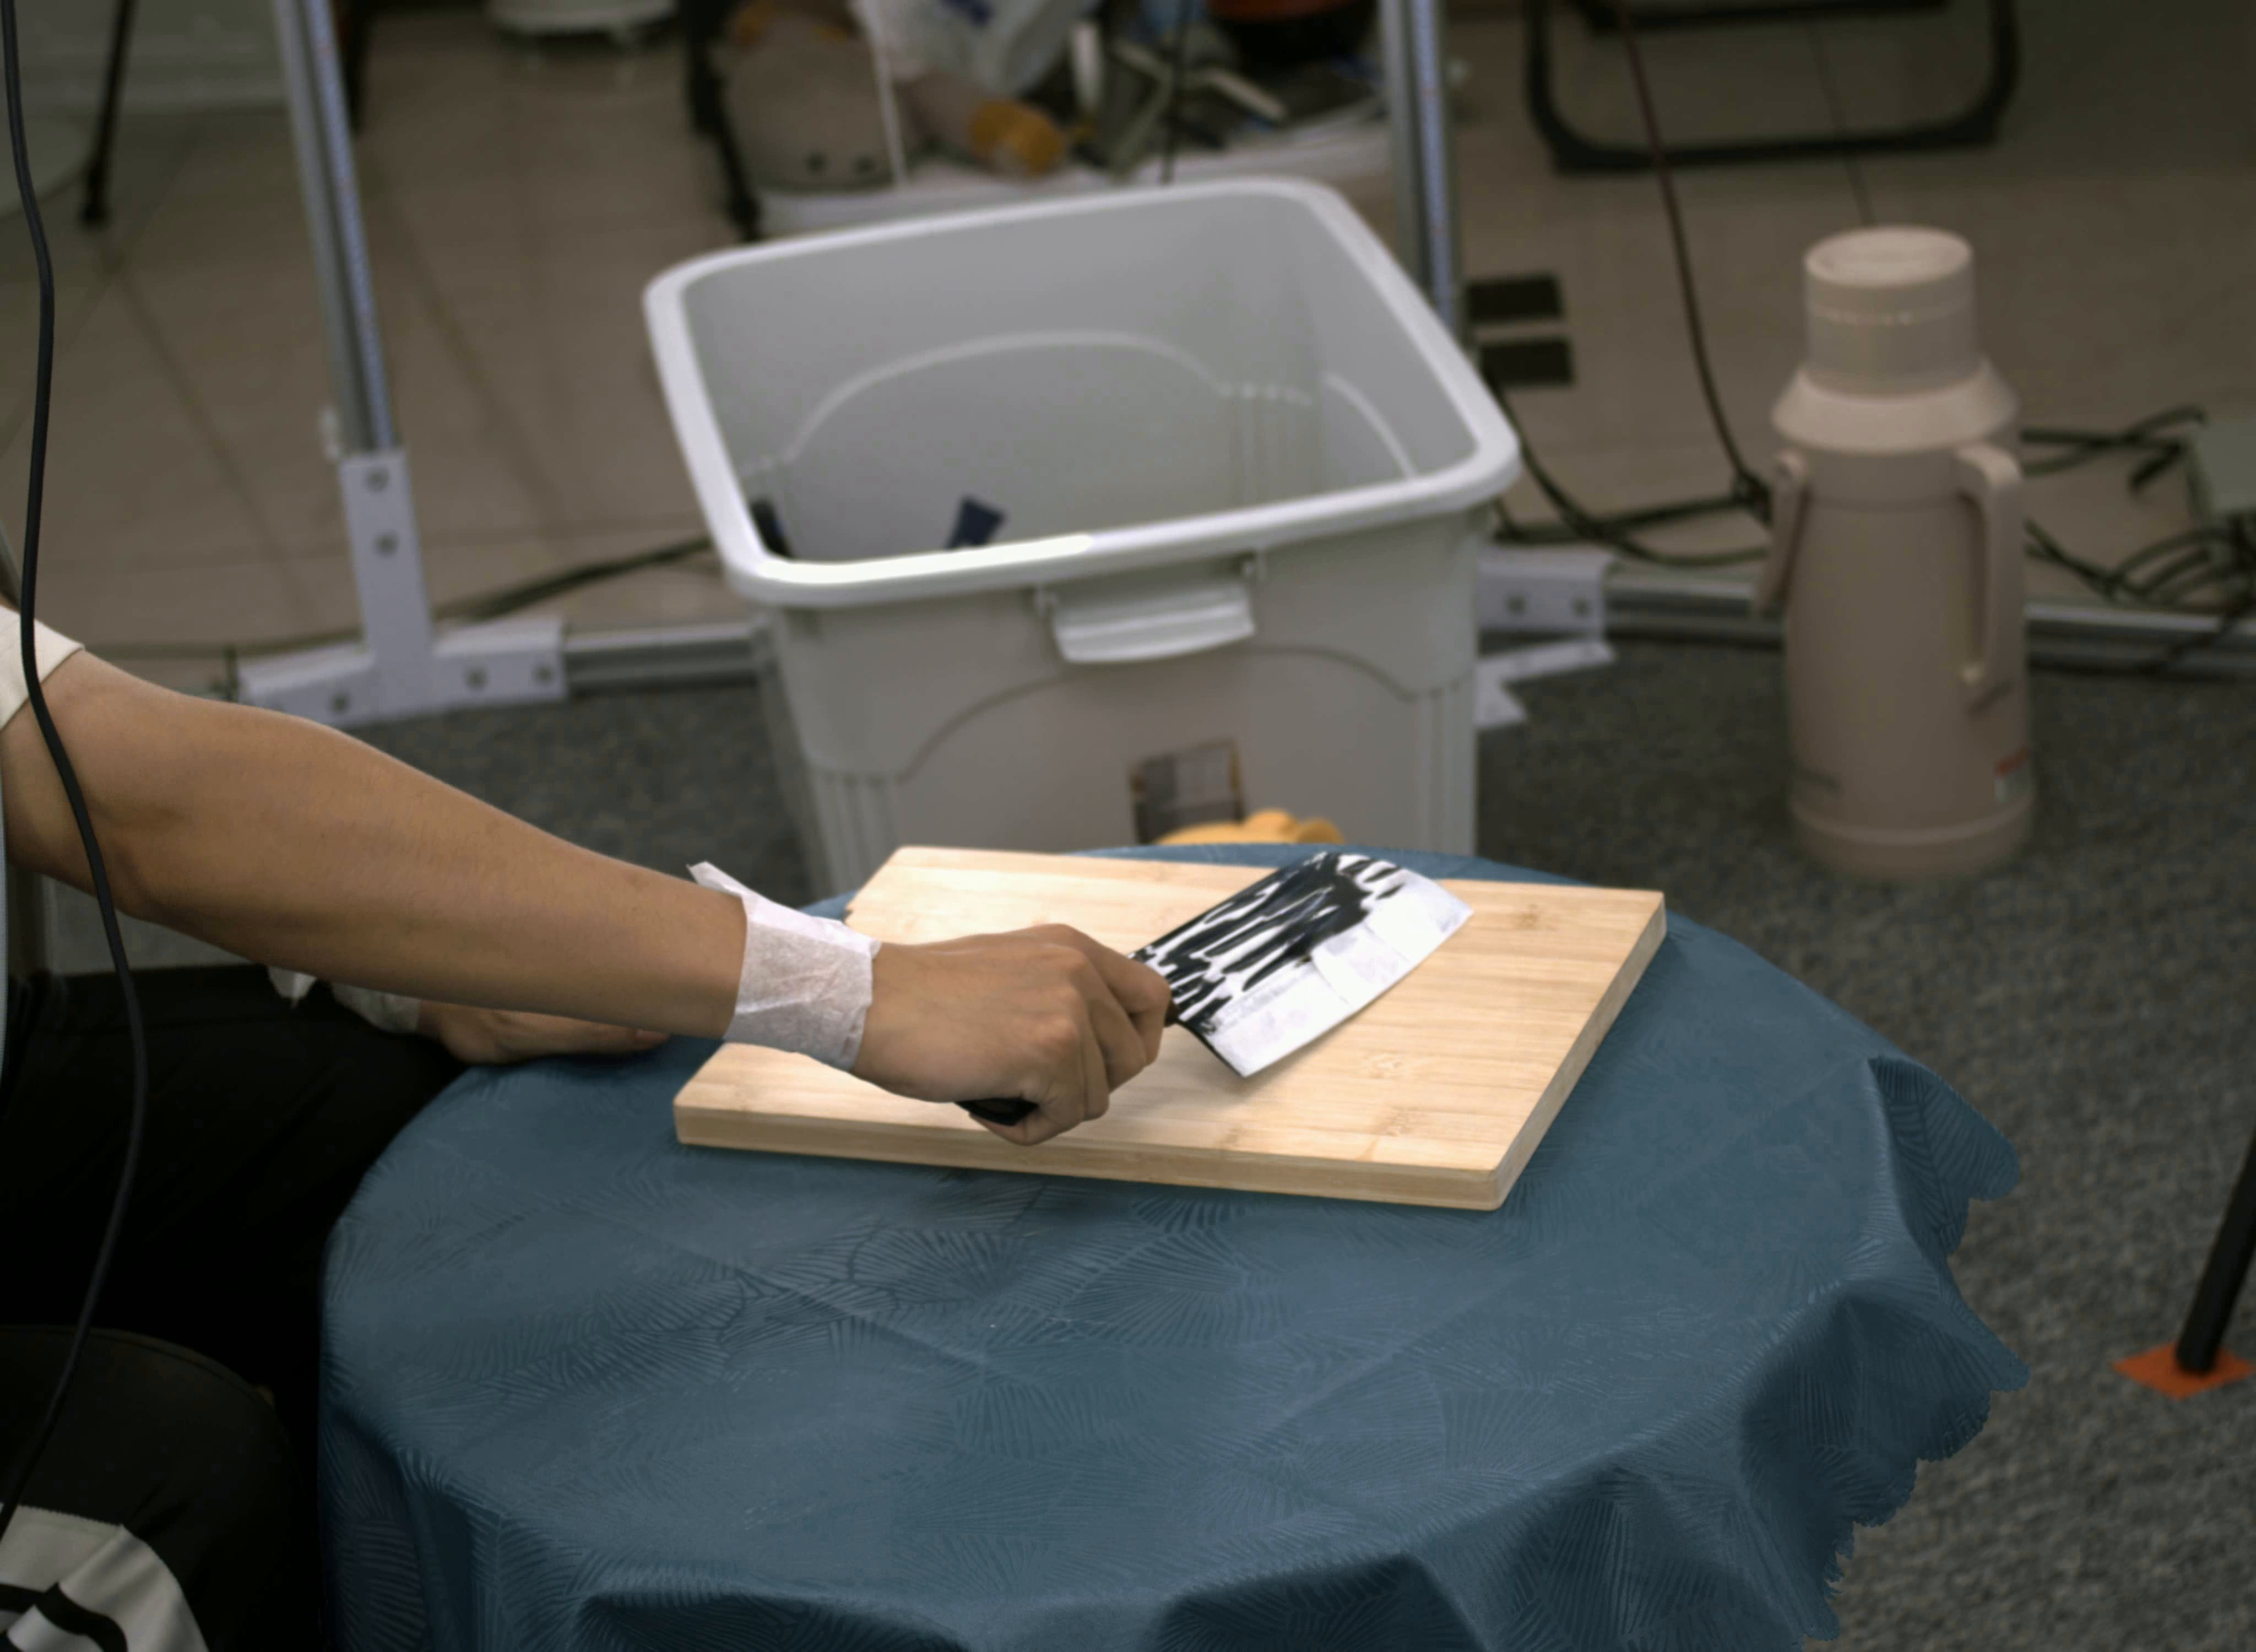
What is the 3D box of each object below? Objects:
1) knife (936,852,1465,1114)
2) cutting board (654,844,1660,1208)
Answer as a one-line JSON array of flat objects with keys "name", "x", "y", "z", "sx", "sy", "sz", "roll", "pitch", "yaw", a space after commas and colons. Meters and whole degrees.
[{"name": "knife", "x": 0.035, "y": 0.064, "z": 2.191, "sx": 0.067, "sy": 0.024, "sz": 0.297, "roll": 47, "pitch": 40, "yaw": 14}, {"name": "cutting board", "x": 0.015, "y": 0.075, "z": 2.265, "sx": 0.348, "sy": 0.024, "sz": 0.247, "roll": 3, "pitch": 26, "yaw": 20}]
